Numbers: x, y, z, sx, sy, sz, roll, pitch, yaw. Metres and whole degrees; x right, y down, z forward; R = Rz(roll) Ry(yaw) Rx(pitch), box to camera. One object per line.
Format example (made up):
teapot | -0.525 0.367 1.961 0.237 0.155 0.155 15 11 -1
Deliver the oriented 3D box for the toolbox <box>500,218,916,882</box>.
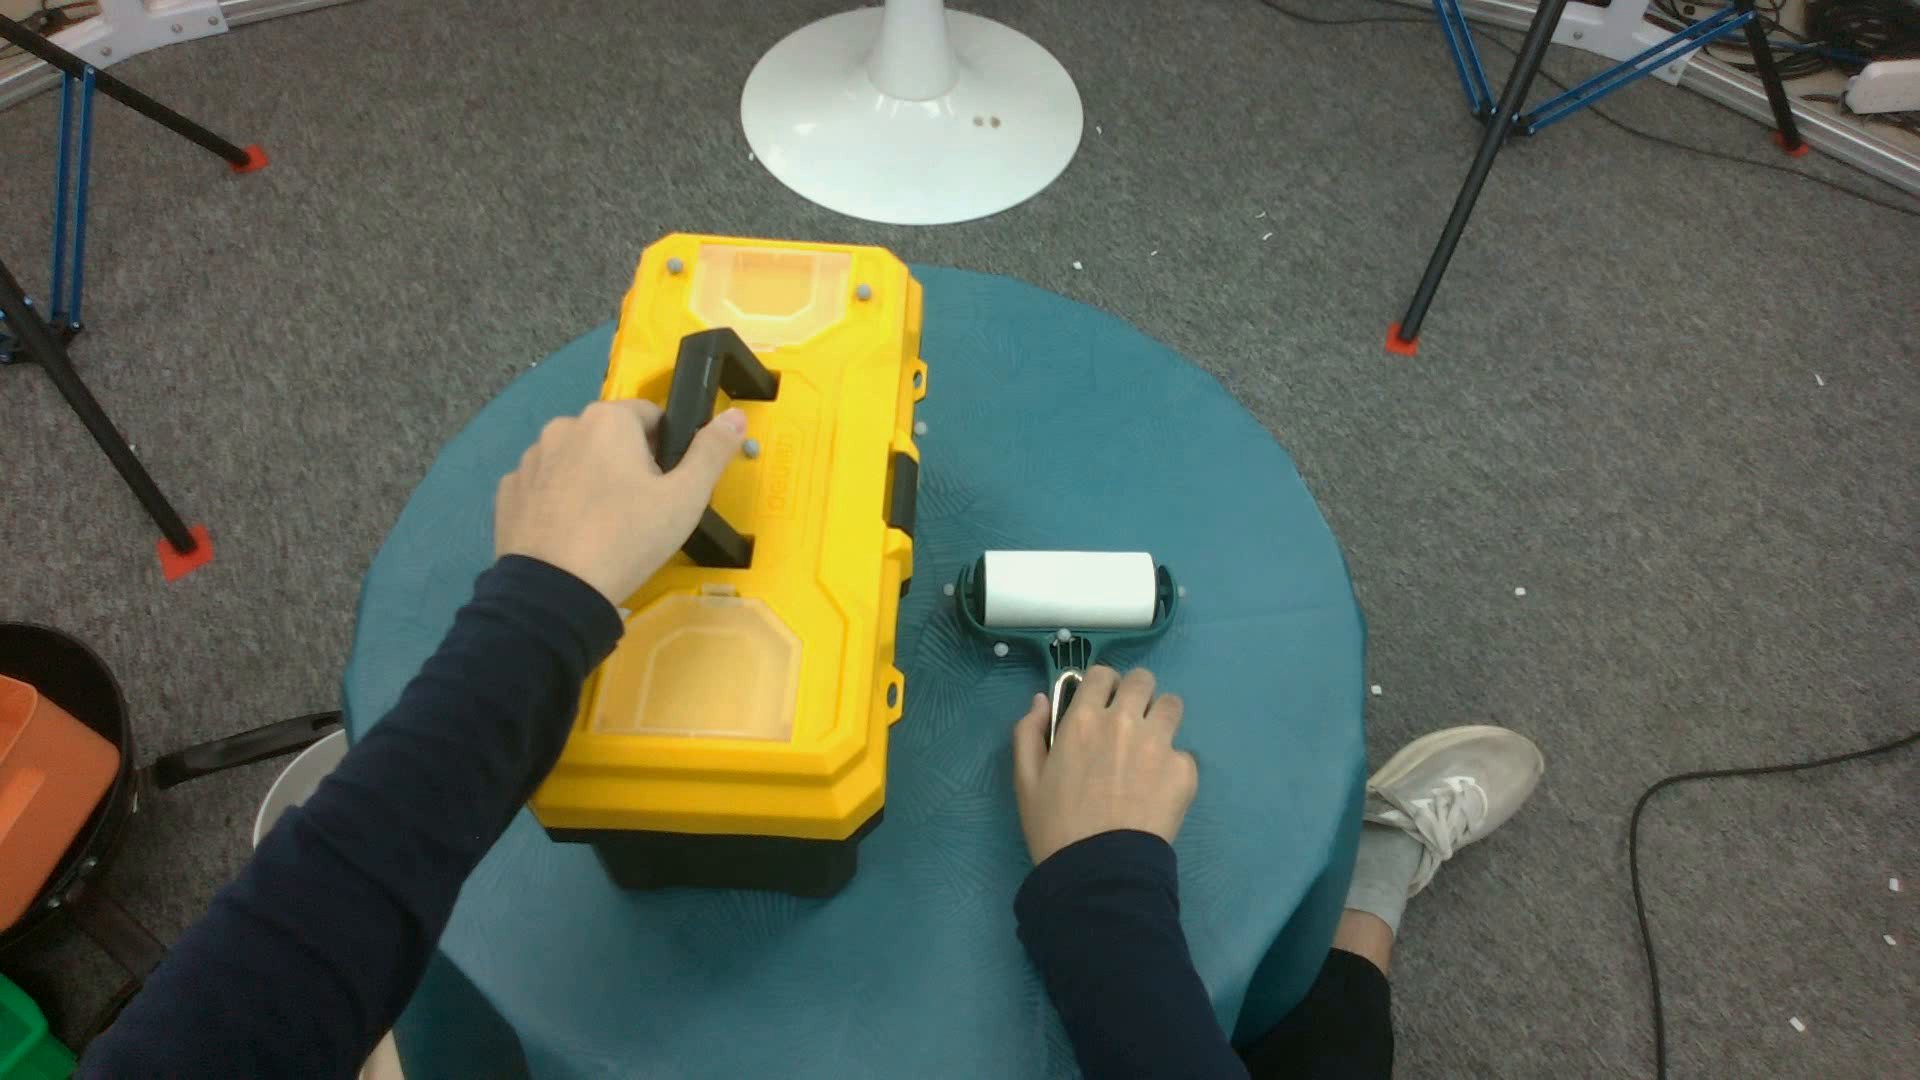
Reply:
toolbox | -0.119 0.001 0.743 0.181 0.172 0.353 3 55 -2

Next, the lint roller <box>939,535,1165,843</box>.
lint roller | 0.056 0.078 0.783 0.134 0.048 0.181 1 58 -5
